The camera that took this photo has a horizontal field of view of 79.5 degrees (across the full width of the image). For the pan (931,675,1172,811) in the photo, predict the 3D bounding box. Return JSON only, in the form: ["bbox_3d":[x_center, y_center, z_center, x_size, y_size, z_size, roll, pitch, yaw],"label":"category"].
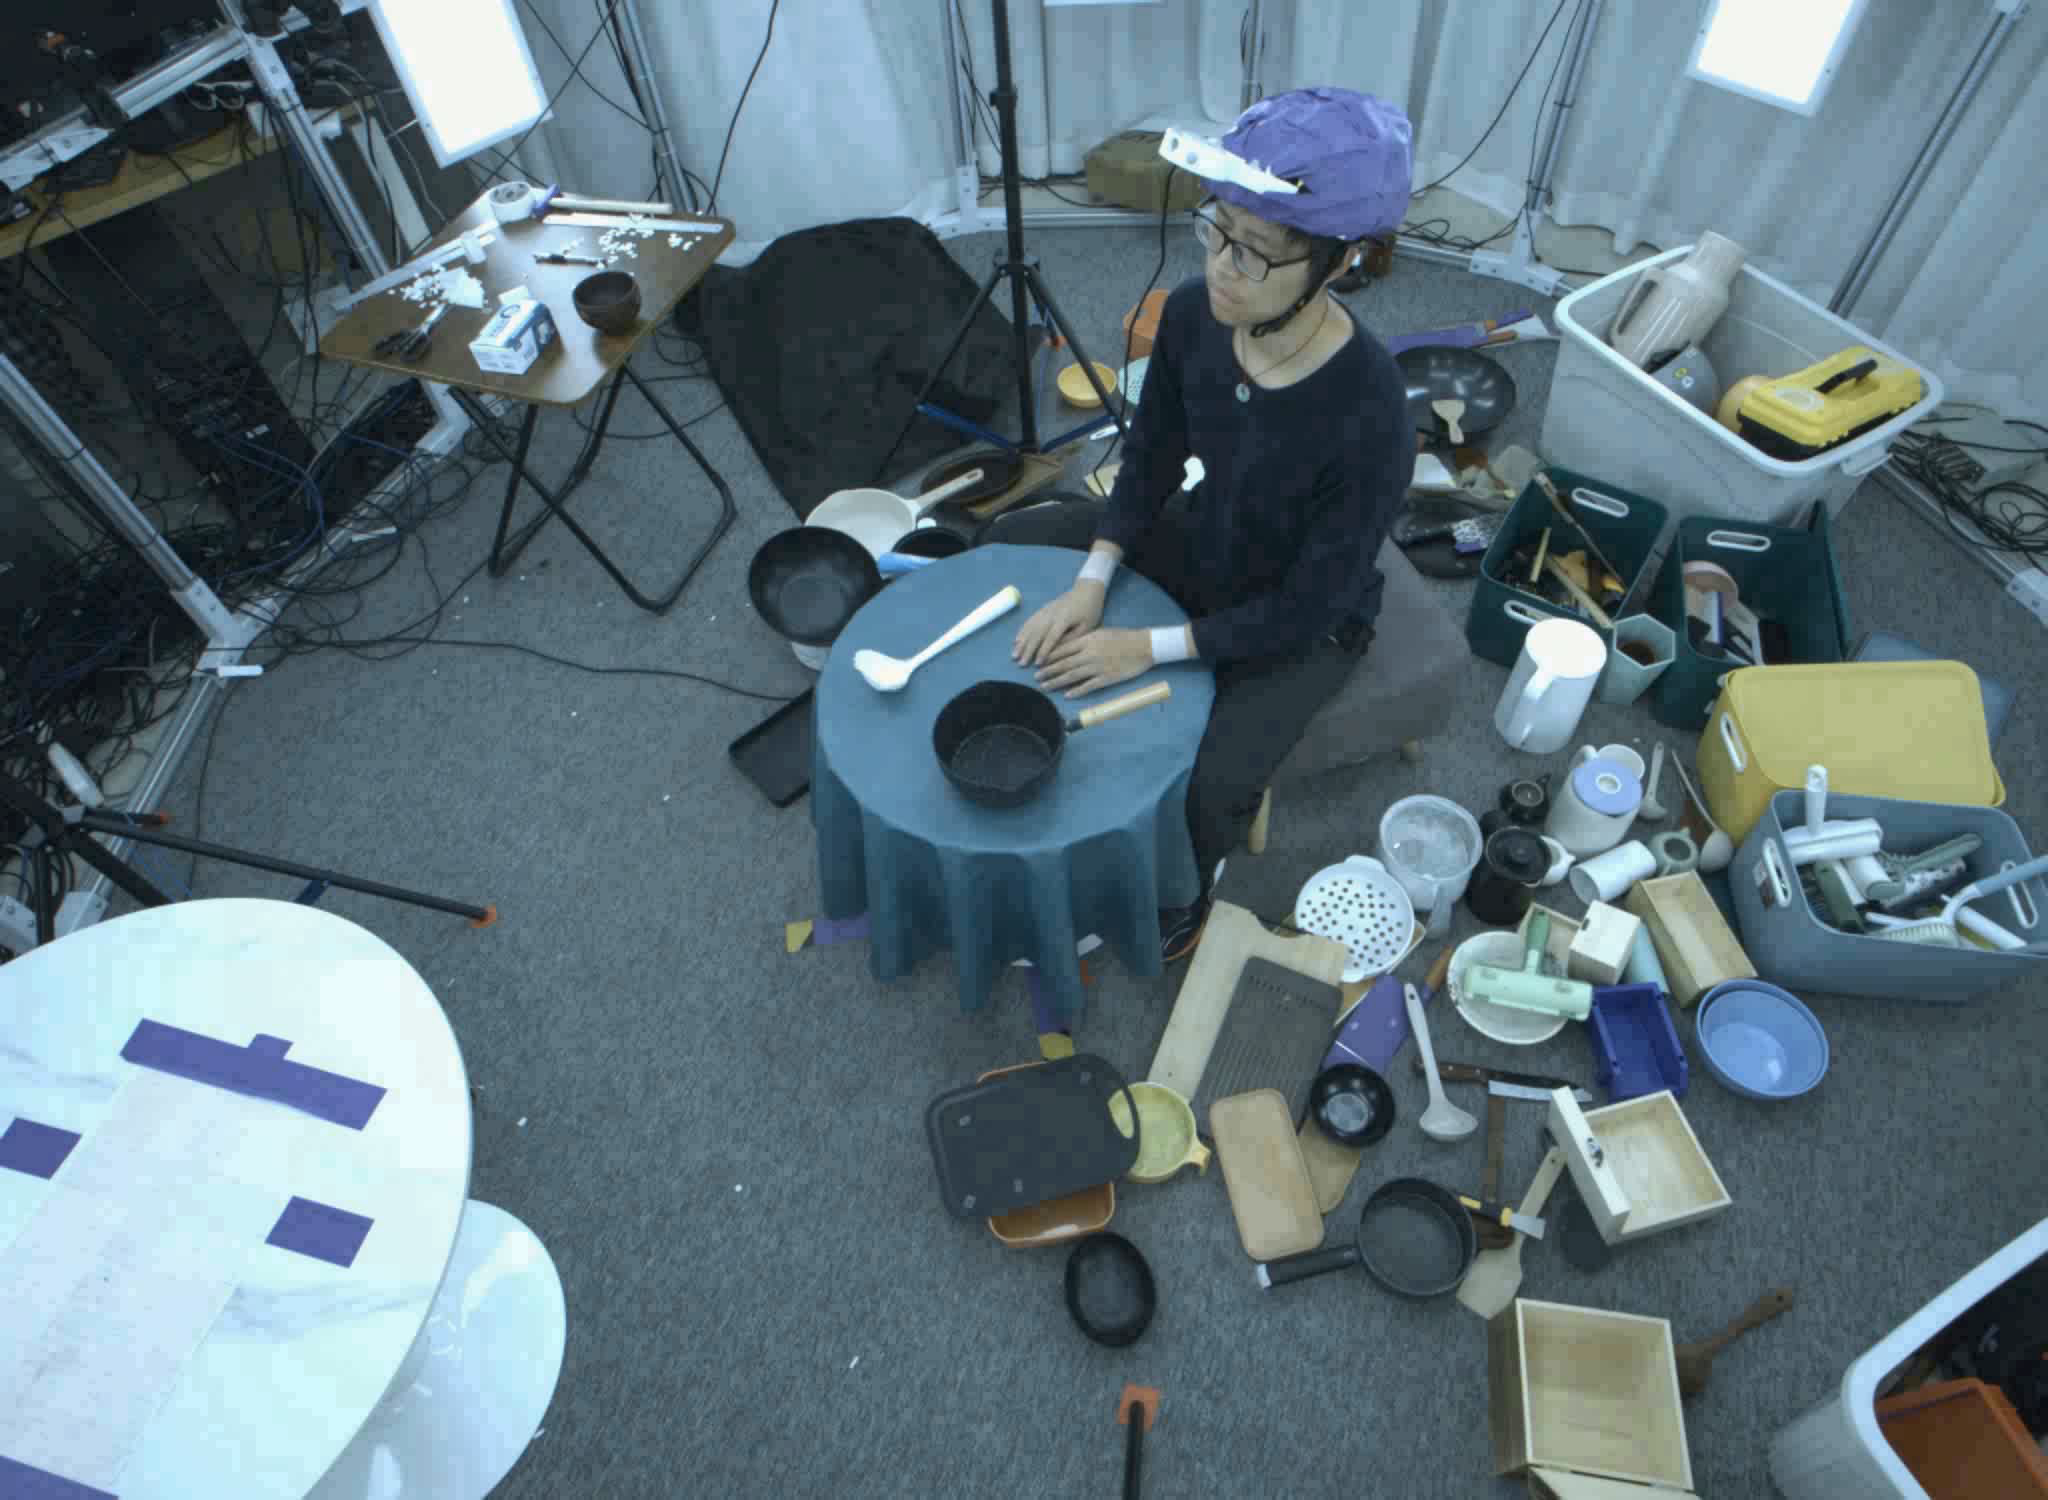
[{"bbox_3d":[0.042,-0.025,1.737,0.344,0.109,0.204,-14,54,-6],"label":"pan"}]

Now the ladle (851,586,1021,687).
[{"bbox_3d":[-0.130,-0.183,1.881,0.295,0.071,0.088,-33,56,-20],"label":"ladle"}]
